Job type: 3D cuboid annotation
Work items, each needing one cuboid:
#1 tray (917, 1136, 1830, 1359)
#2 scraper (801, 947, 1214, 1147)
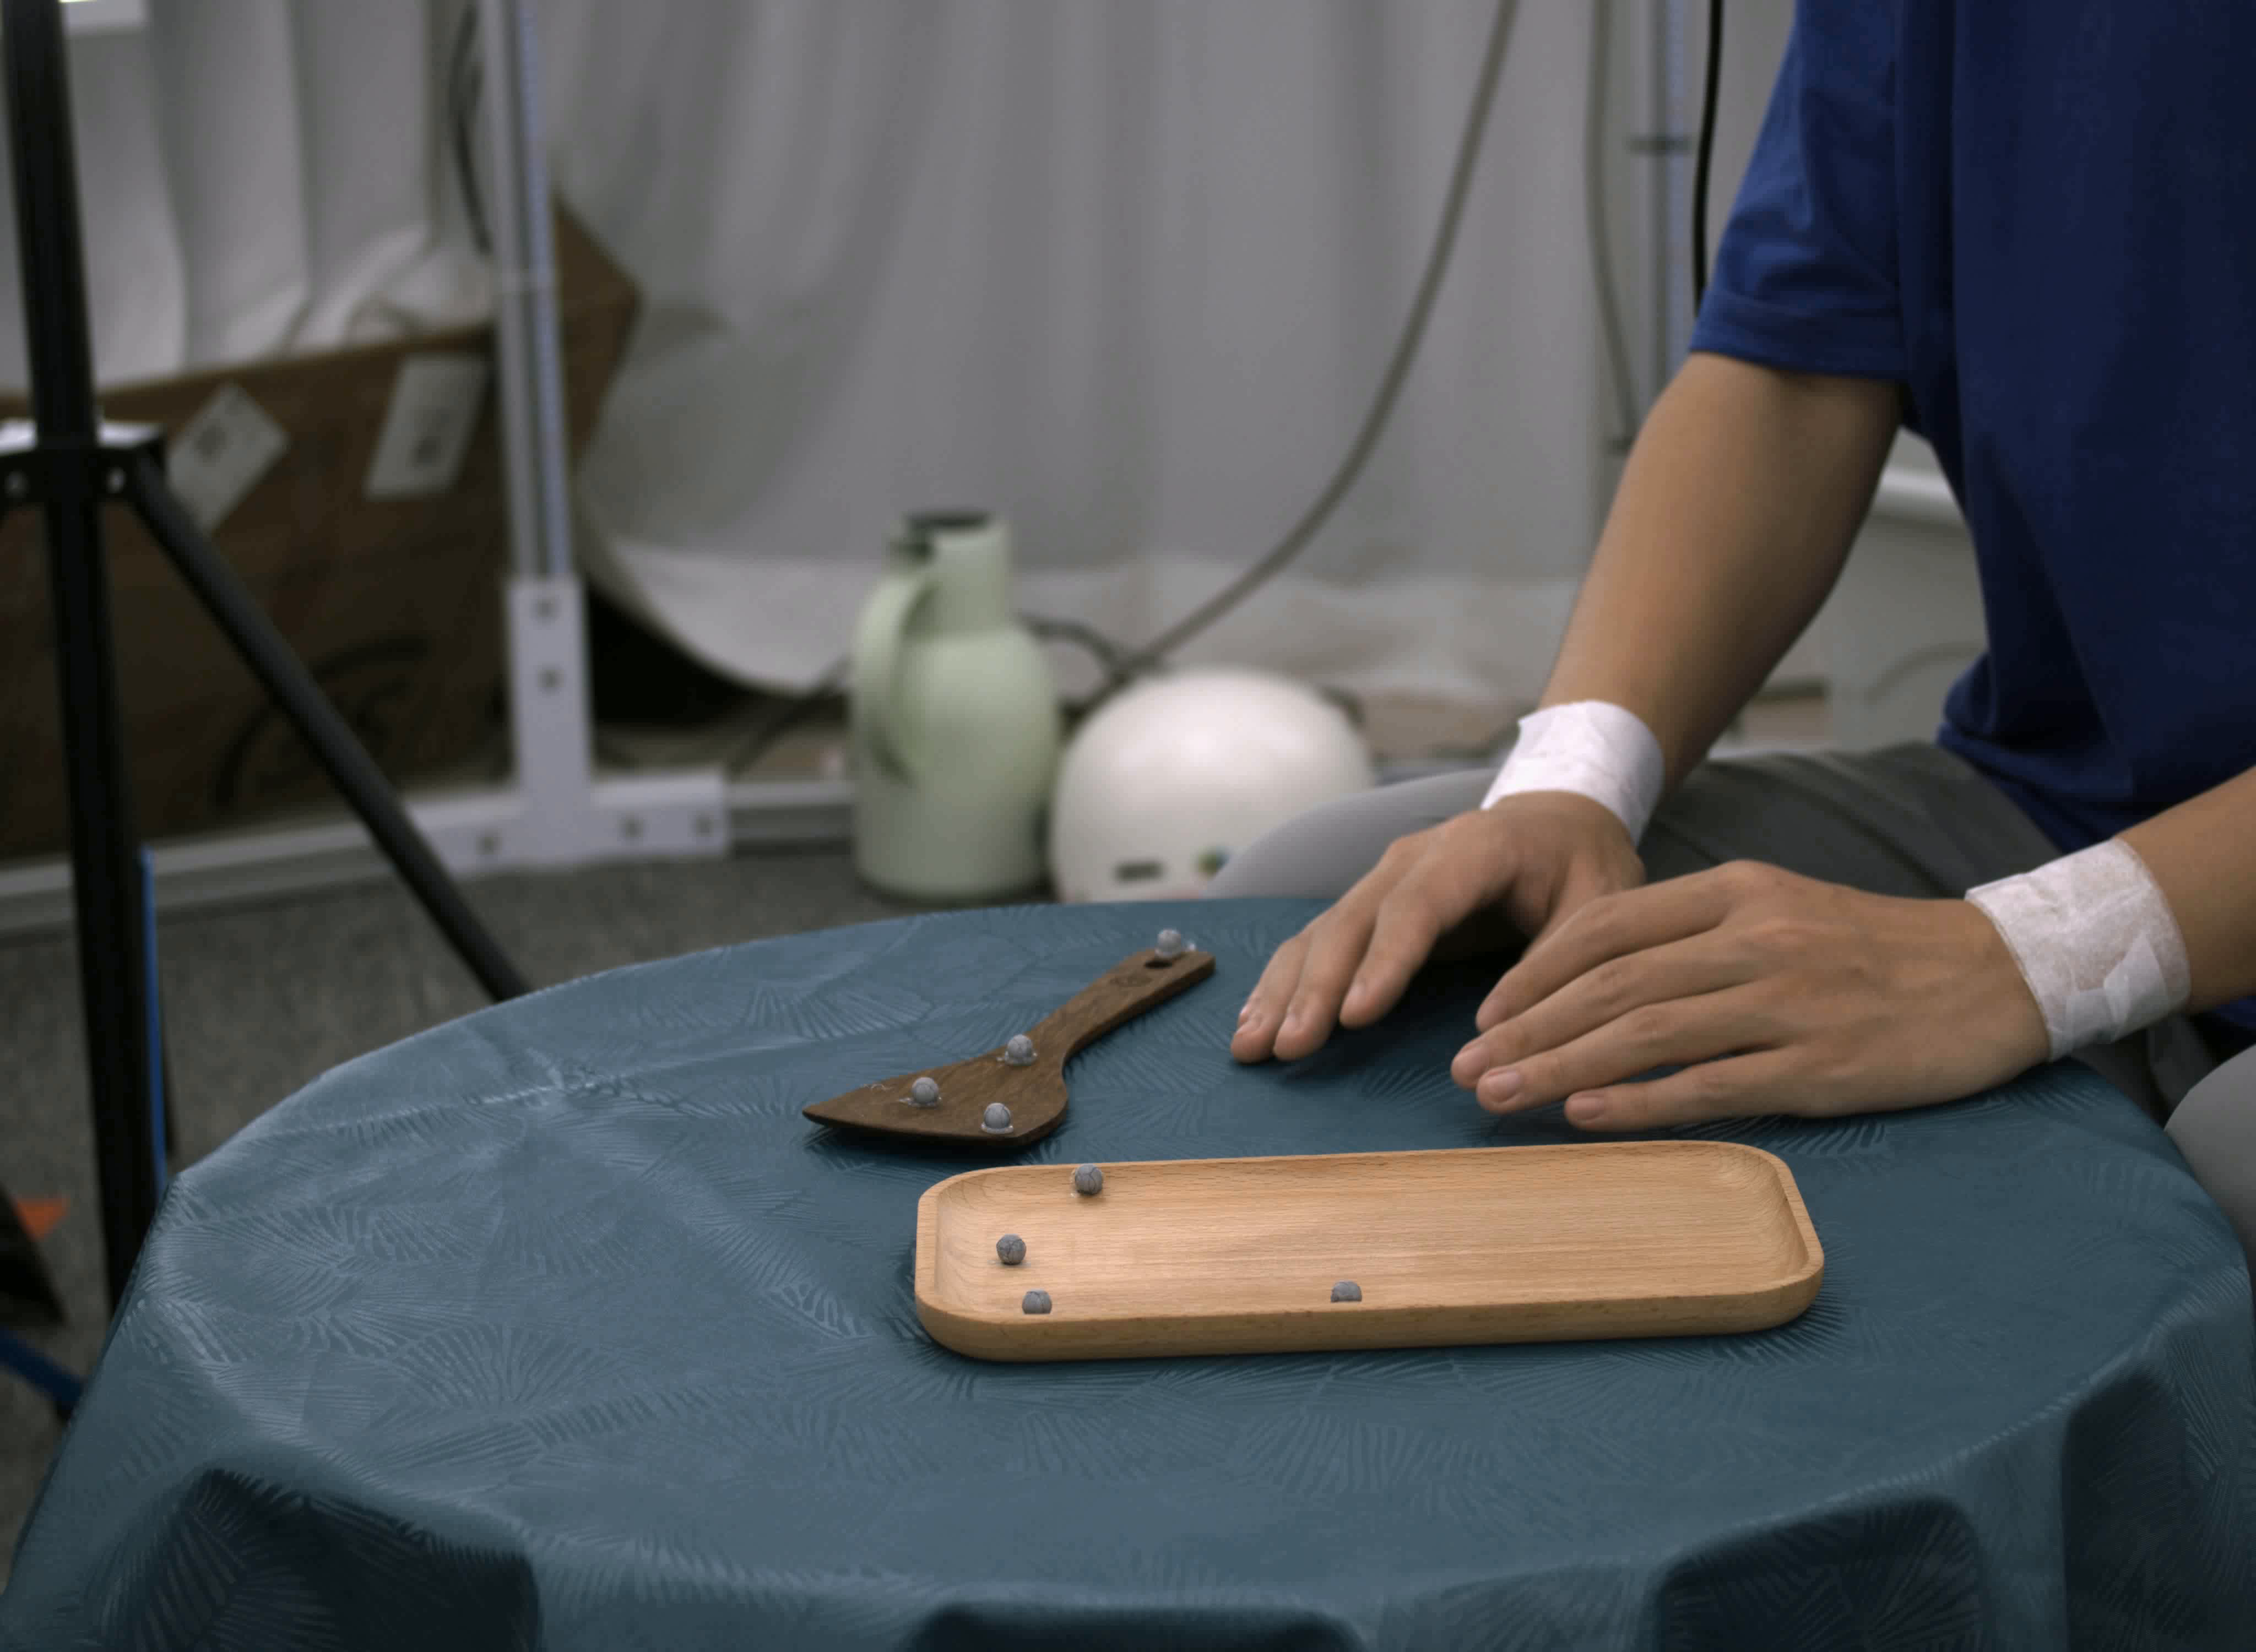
[{"bbox_3d":[0.067,0.118,1.481,0.250,0.023,0.131,-1,18,2],"label":"tray"},{"bbox_3d":[-0.025,0.069,1.685,0.077,0.011,0.208,6,17,25],"label":"scraper"}]
